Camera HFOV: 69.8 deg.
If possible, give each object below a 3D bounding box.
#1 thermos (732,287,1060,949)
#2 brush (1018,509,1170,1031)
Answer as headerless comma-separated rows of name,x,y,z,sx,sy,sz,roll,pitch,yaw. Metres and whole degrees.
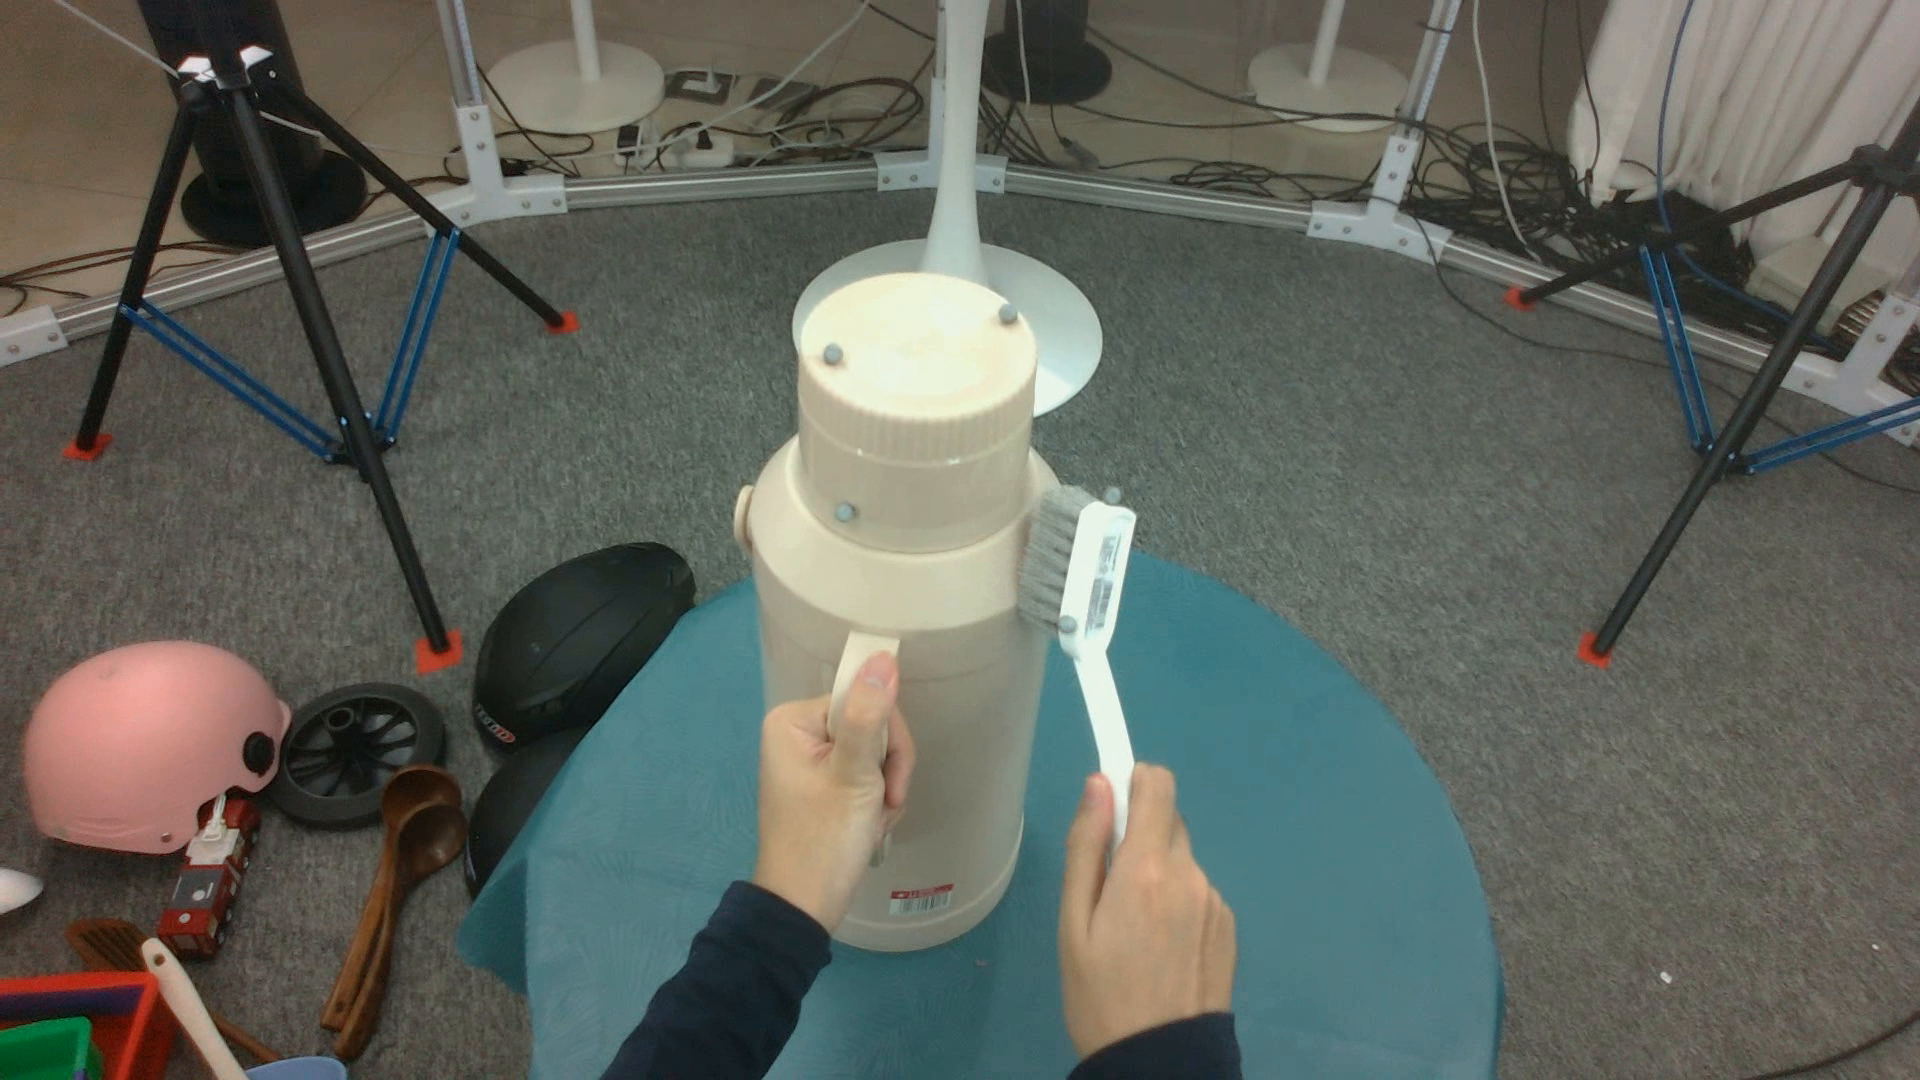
thermos,-0.038,0.067,0.744,0.175,0.404,0.208,10,46,3
brush,0.061,0.106,0.641,0.050,0.243,0.034,-5,2,30
